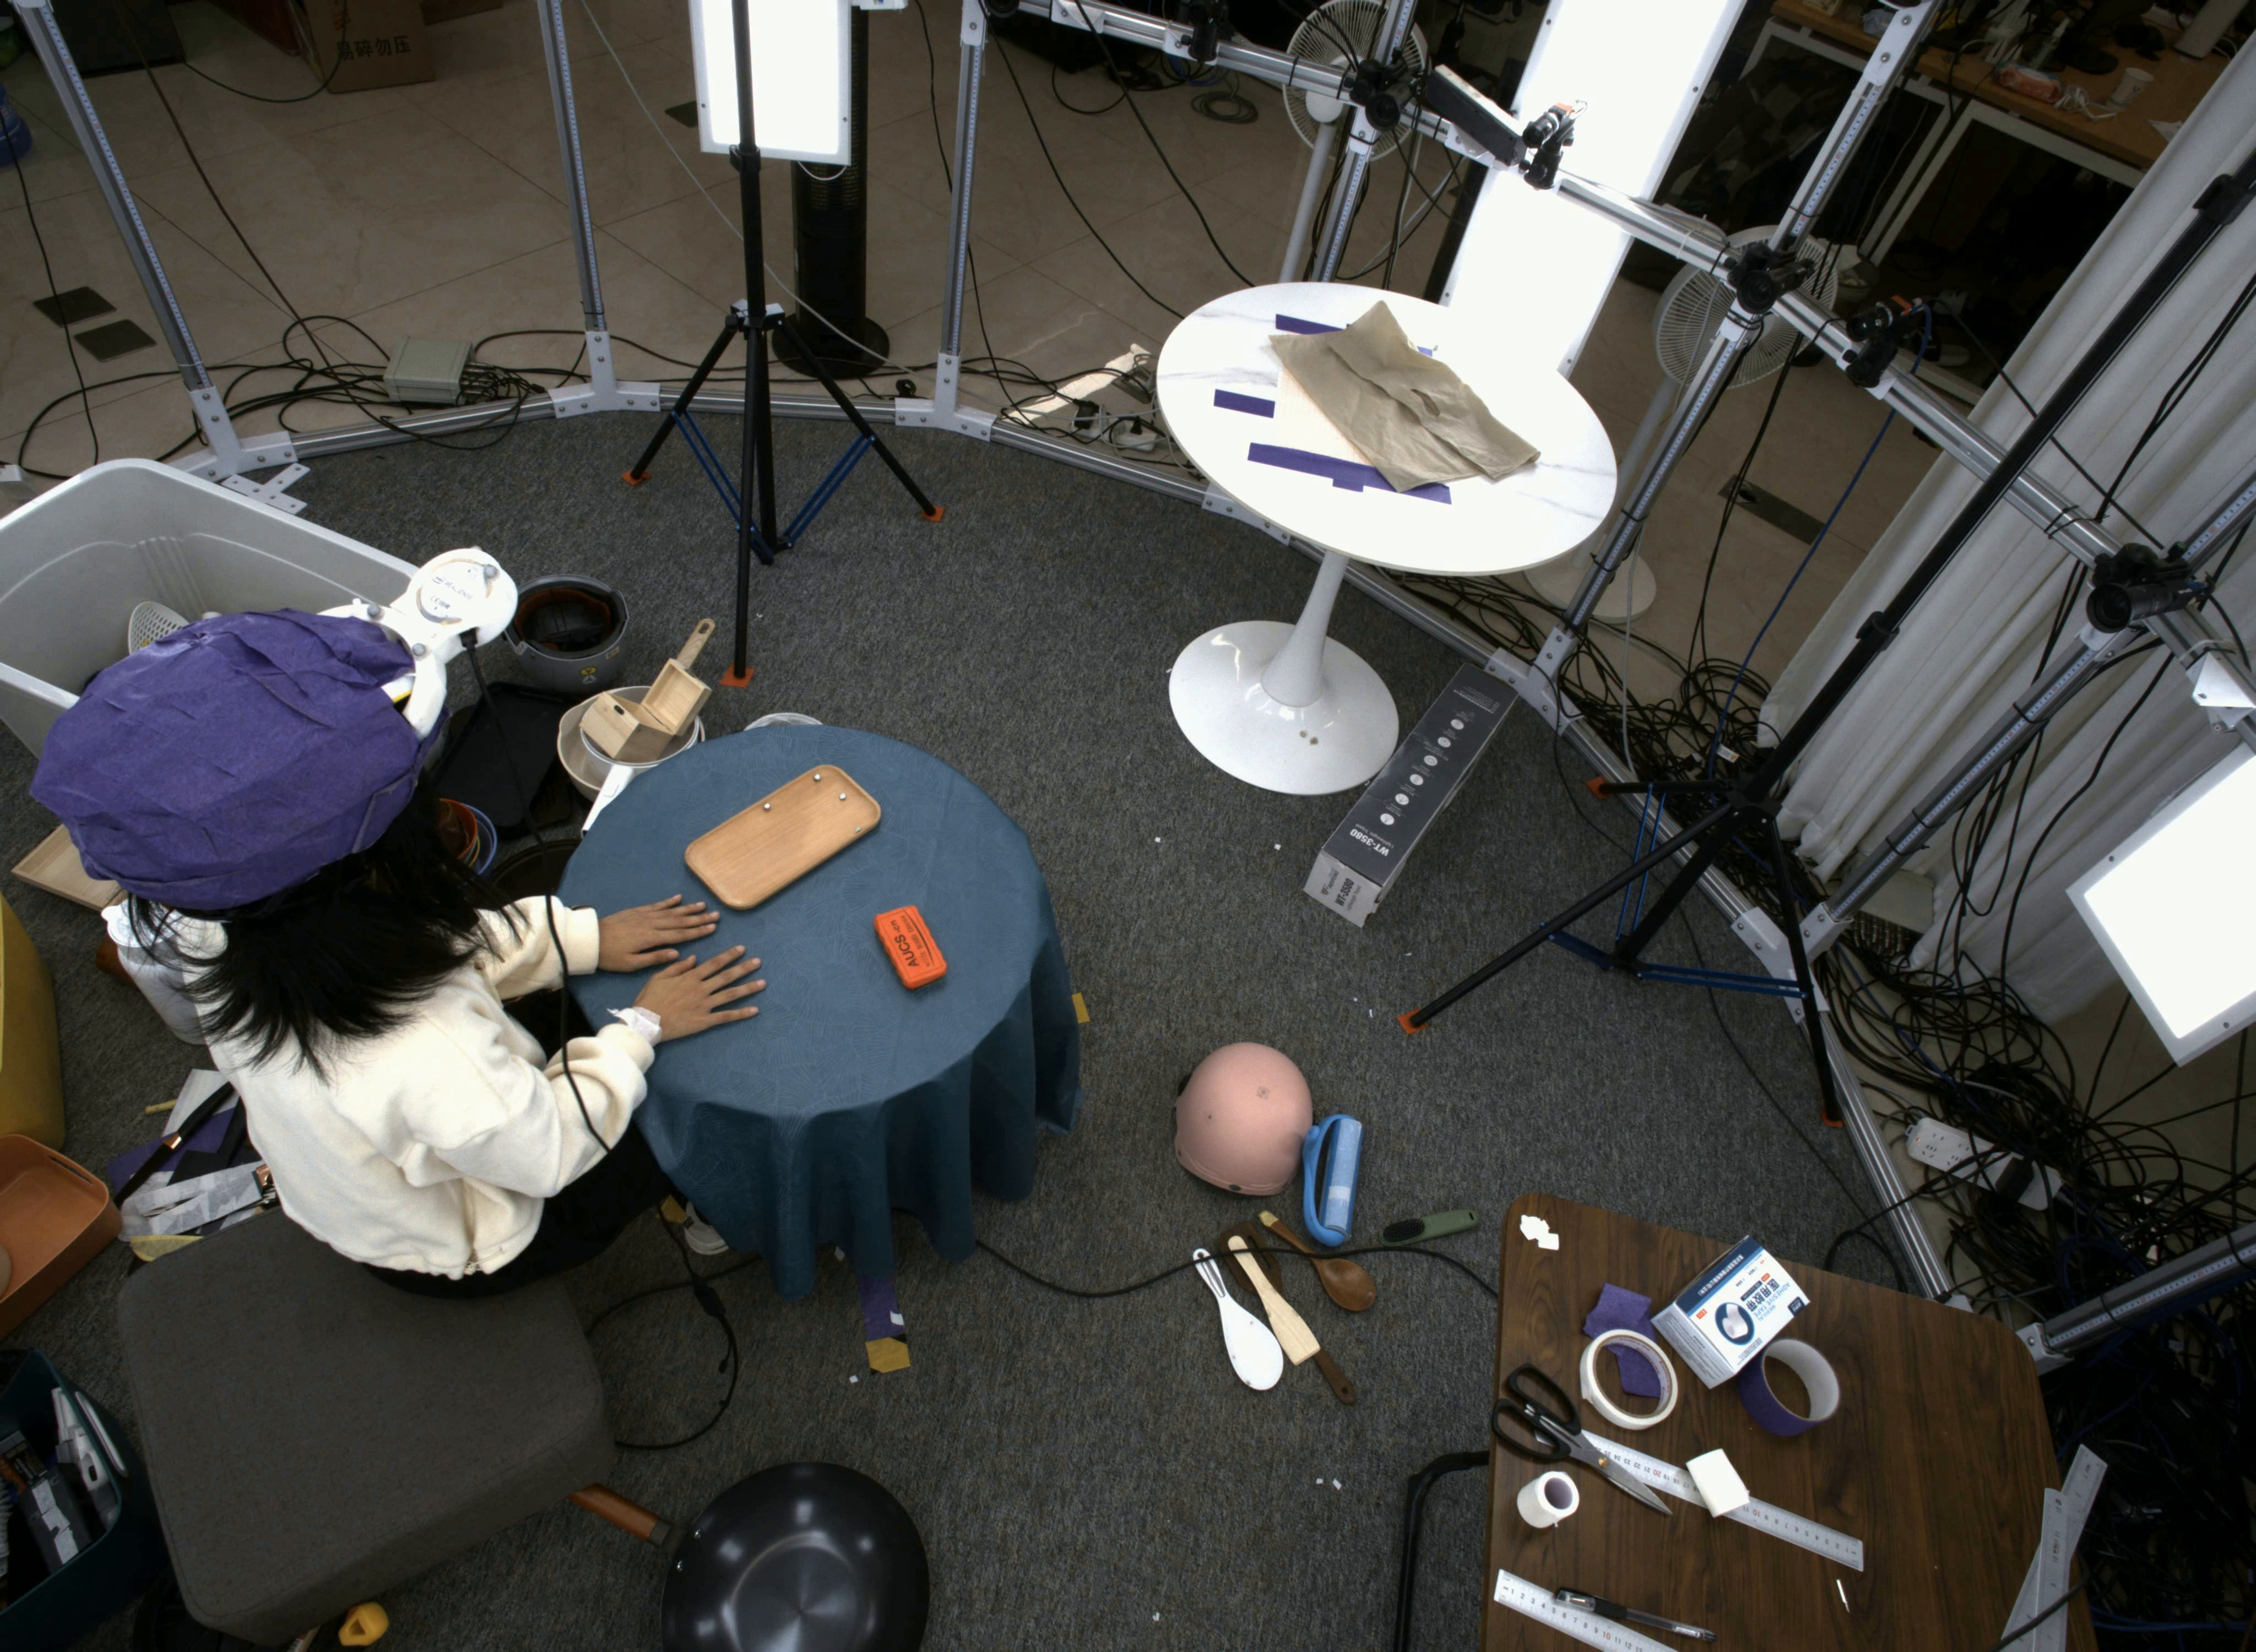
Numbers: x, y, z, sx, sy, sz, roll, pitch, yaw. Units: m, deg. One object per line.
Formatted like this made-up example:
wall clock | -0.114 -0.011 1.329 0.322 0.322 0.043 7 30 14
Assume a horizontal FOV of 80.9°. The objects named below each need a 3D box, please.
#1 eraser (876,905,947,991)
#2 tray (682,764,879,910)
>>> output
eraser | -0.272 0.150 1.632 0.059 0.023 0.105 -19 60 -27
tray | -0.451 0.010 1.692 0.127 0.023 0.251 40 55 19
